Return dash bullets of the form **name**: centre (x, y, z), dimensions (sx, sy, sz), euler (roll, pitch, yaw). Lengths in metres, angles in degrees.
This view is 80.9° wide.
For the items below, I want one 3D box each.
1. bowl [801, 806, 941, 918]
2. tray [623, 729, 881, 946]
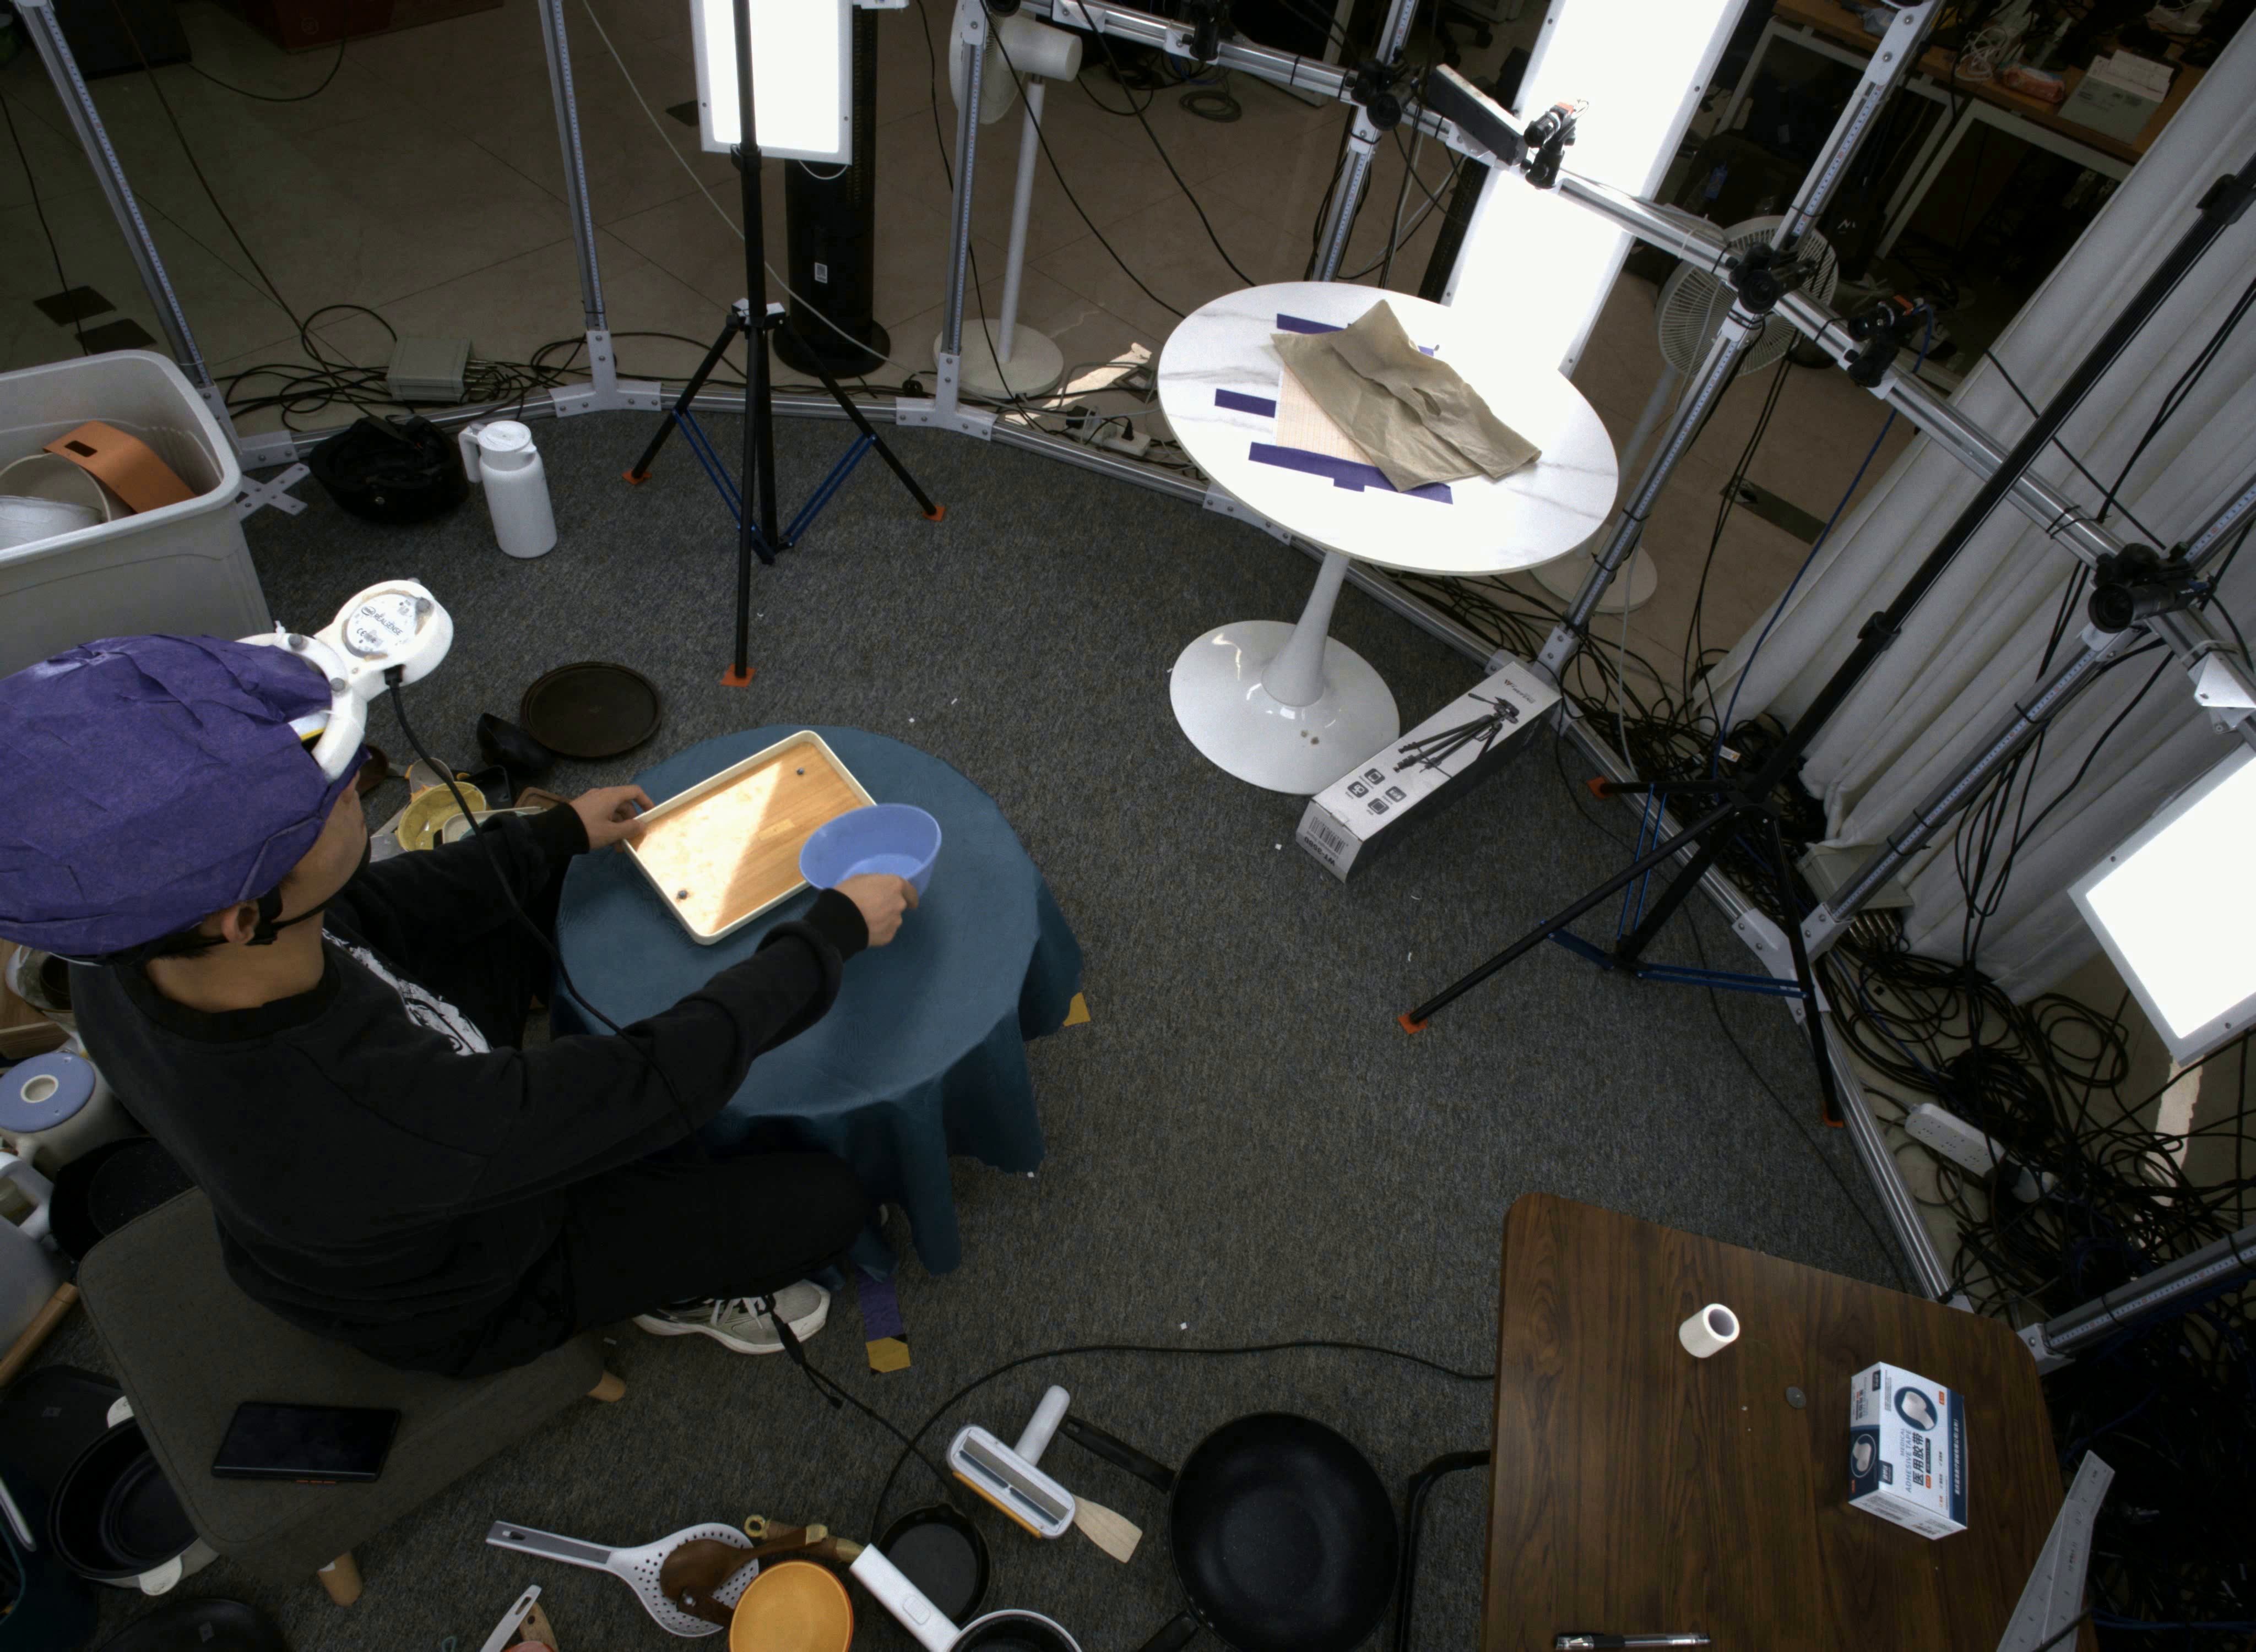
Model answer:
- **bowl**: centre (-0.311, 0.051, 1.609), dimensions (0.173, 0.073, 0.172), euler (-4, 36, 4)
- **tray**: centre (-0.477, 0.007, 1.669), dimensions (0.301, 0.027, 0.189), euler (-35, 79, -34)
